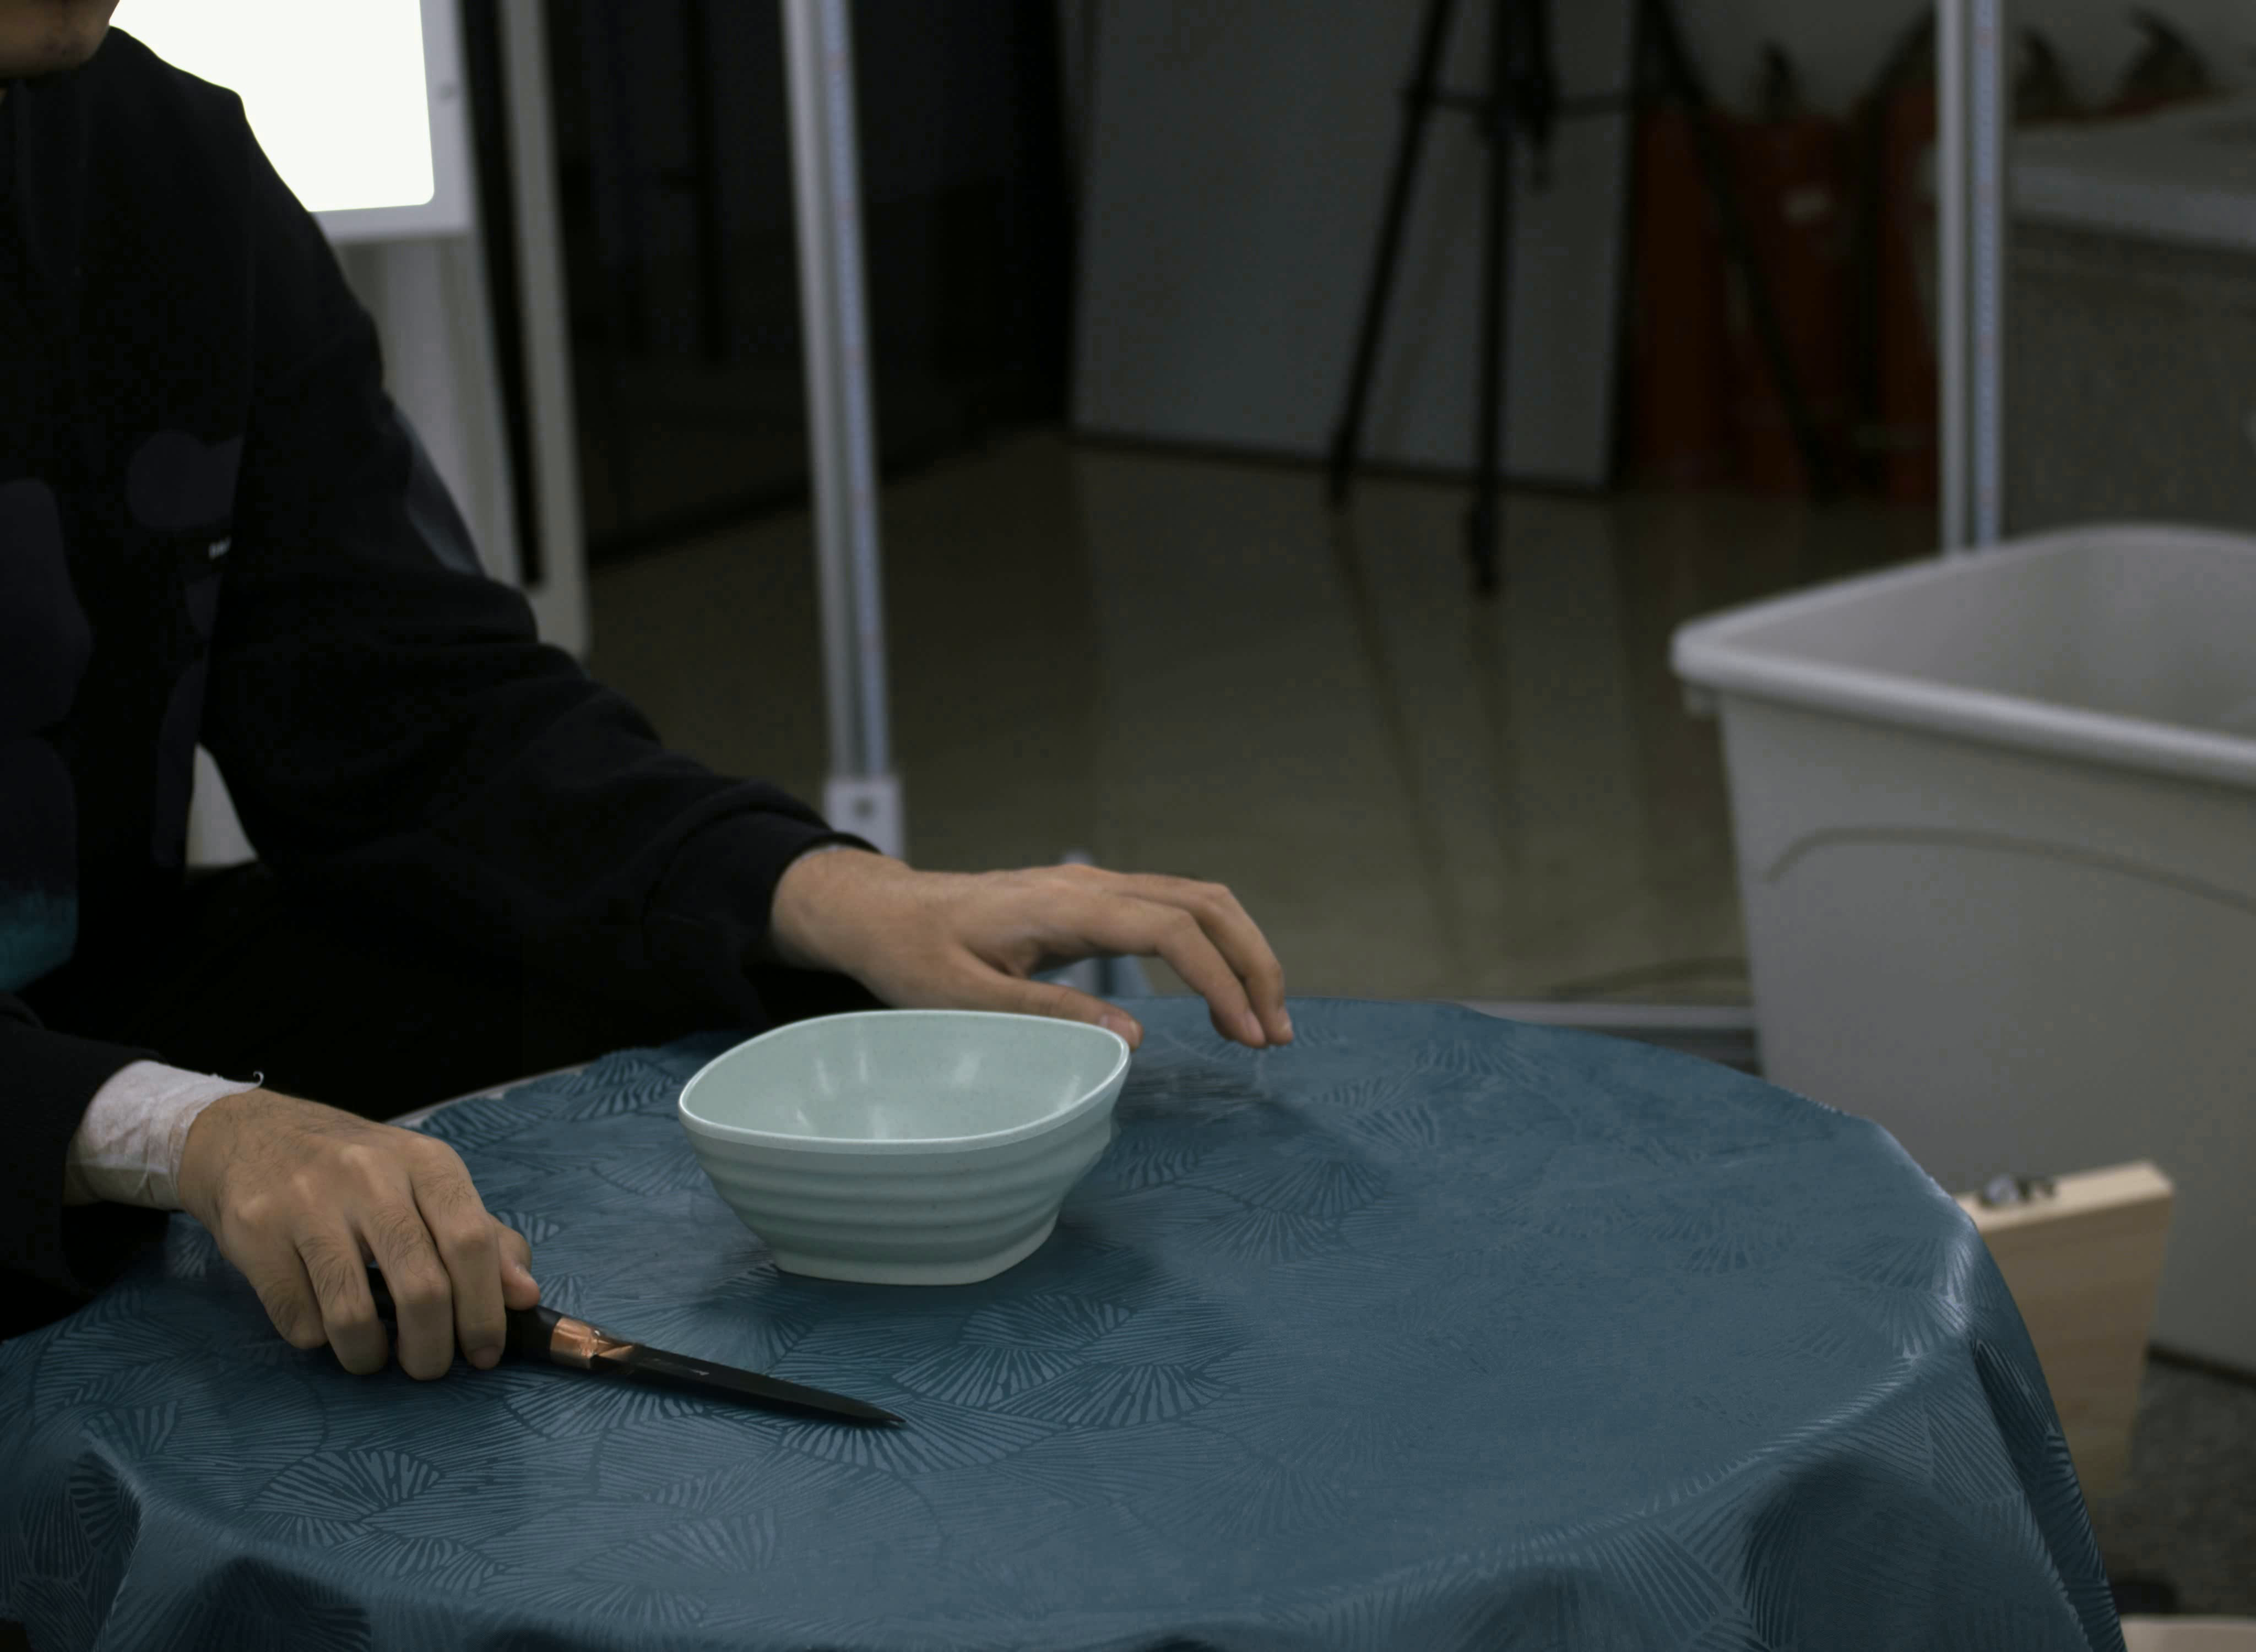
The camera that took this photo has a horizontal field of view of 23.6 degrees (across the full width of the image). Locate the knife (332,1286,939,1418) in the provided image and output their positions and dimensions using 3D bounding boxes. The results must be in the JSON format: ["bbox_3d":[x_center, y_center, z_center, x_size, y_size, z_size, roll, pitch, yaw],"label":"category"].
[{"bbox_3d":[-0.151,0.161,1.633,0.227,0.017,0.026,7,6,34],"label":"knife"}]

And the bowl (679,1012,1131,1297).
[{"bbox_3d":[-0.069,0.108,1.728,0.149,0.059,0.152,-4,15,0],"label":"bowl"}]
